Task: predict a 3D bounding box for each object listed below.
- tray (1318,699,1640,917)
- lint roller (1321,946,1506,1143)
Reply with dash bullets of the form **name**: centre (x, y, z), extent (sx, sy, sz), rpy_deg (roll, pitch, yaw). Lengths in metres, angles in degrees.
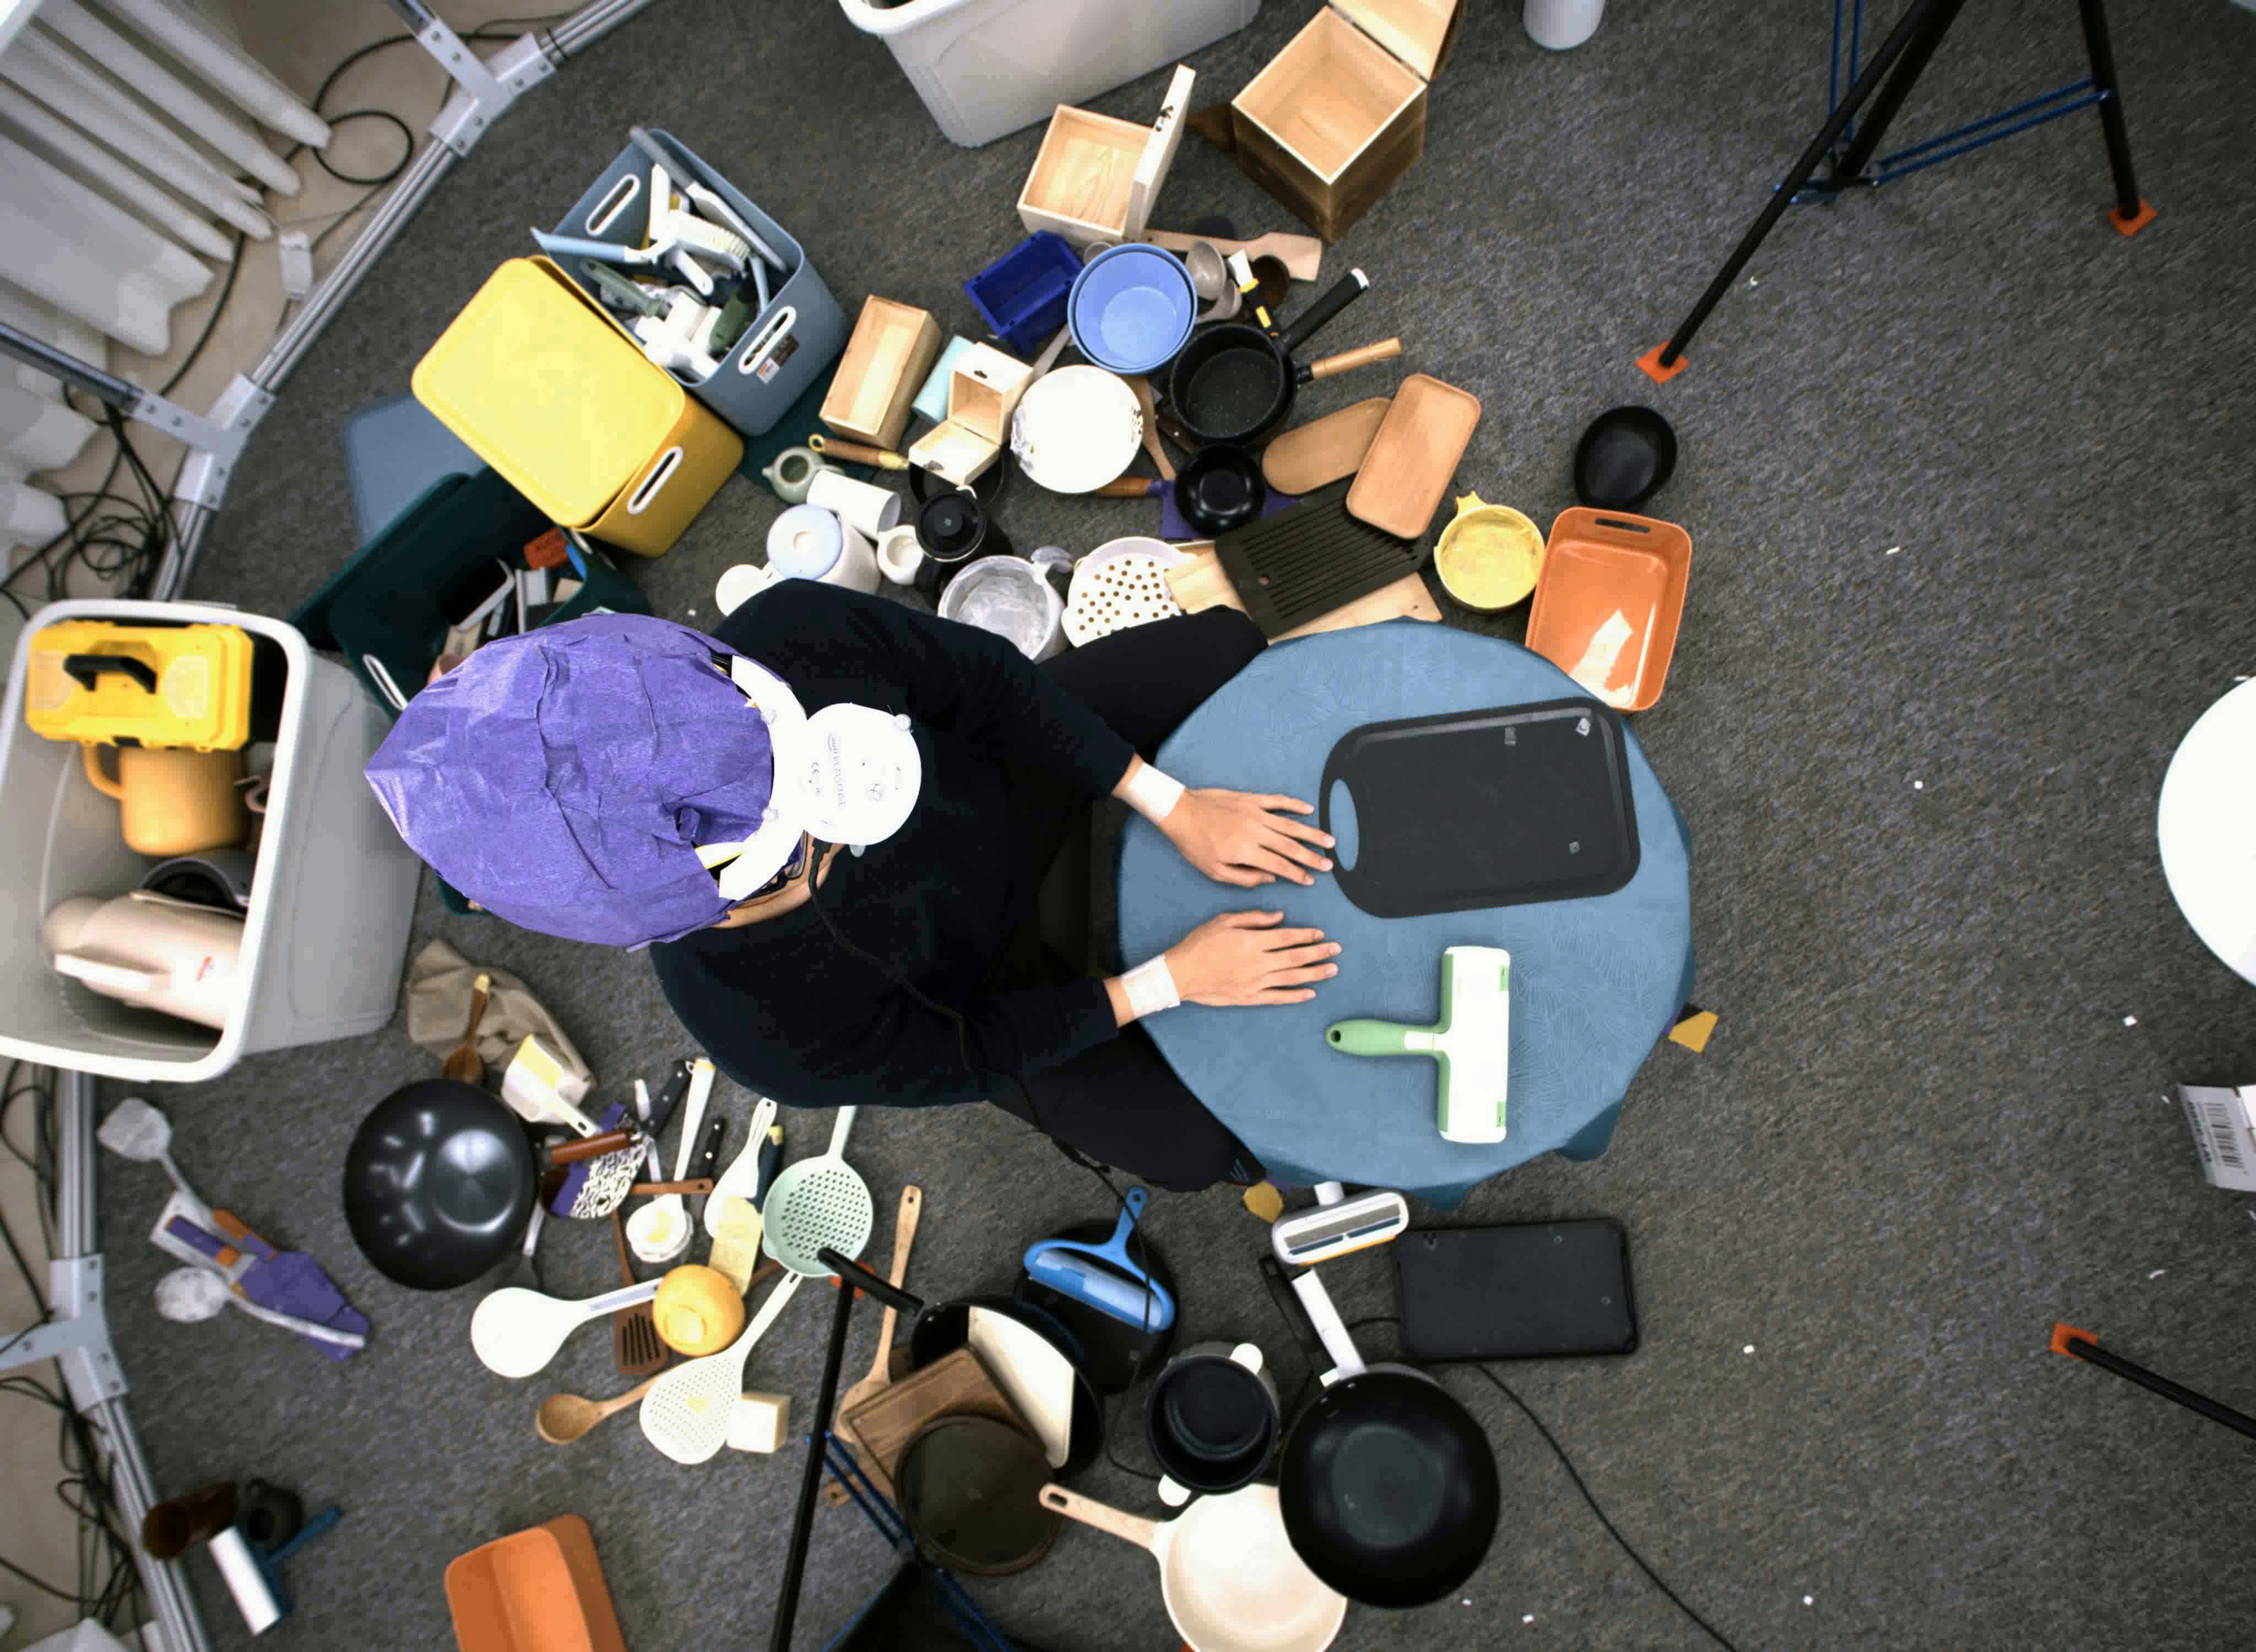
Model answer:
- **tray**: centre (0.364, -0.019, 1.444), extent (0.327, 0.010, 0.210), rpy_deg (-6, 86, 10)
- **lint roller**: centre (0.291, 0.217, 1.404), extent (0.184, 0.082, 0.197), rpy_deg (2, 86, 4)
